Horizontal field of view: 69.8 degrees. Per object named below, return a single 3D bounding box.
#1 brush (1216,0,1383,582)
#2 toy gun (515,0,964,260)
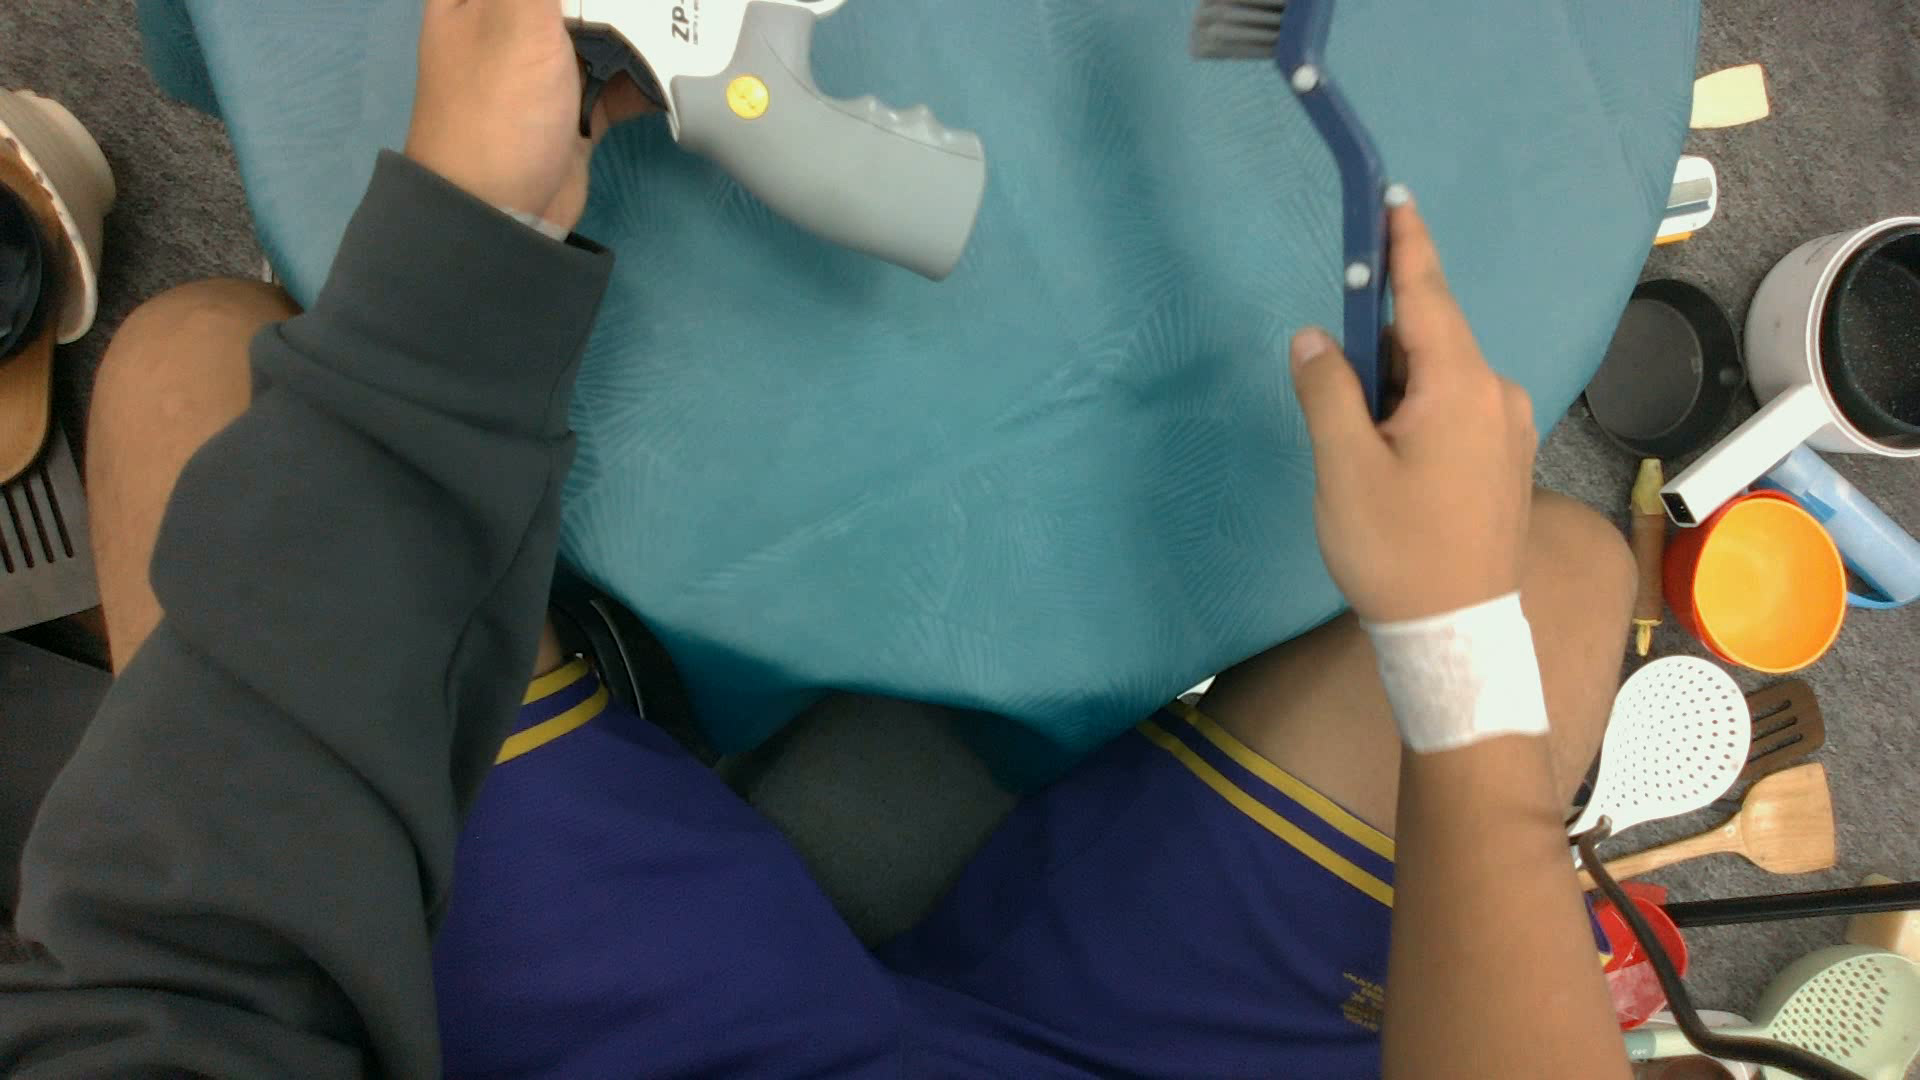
[{"bbox_3d":[0.145,-0.123,0.482,0.095,0.033,0.273,-6,95,25],"label":"brush"},{"bbox_3d":[-0.072,-0.198,0.448,0.142,0.039,0.209,-3,93,-19],"label":"toy gun"}]
